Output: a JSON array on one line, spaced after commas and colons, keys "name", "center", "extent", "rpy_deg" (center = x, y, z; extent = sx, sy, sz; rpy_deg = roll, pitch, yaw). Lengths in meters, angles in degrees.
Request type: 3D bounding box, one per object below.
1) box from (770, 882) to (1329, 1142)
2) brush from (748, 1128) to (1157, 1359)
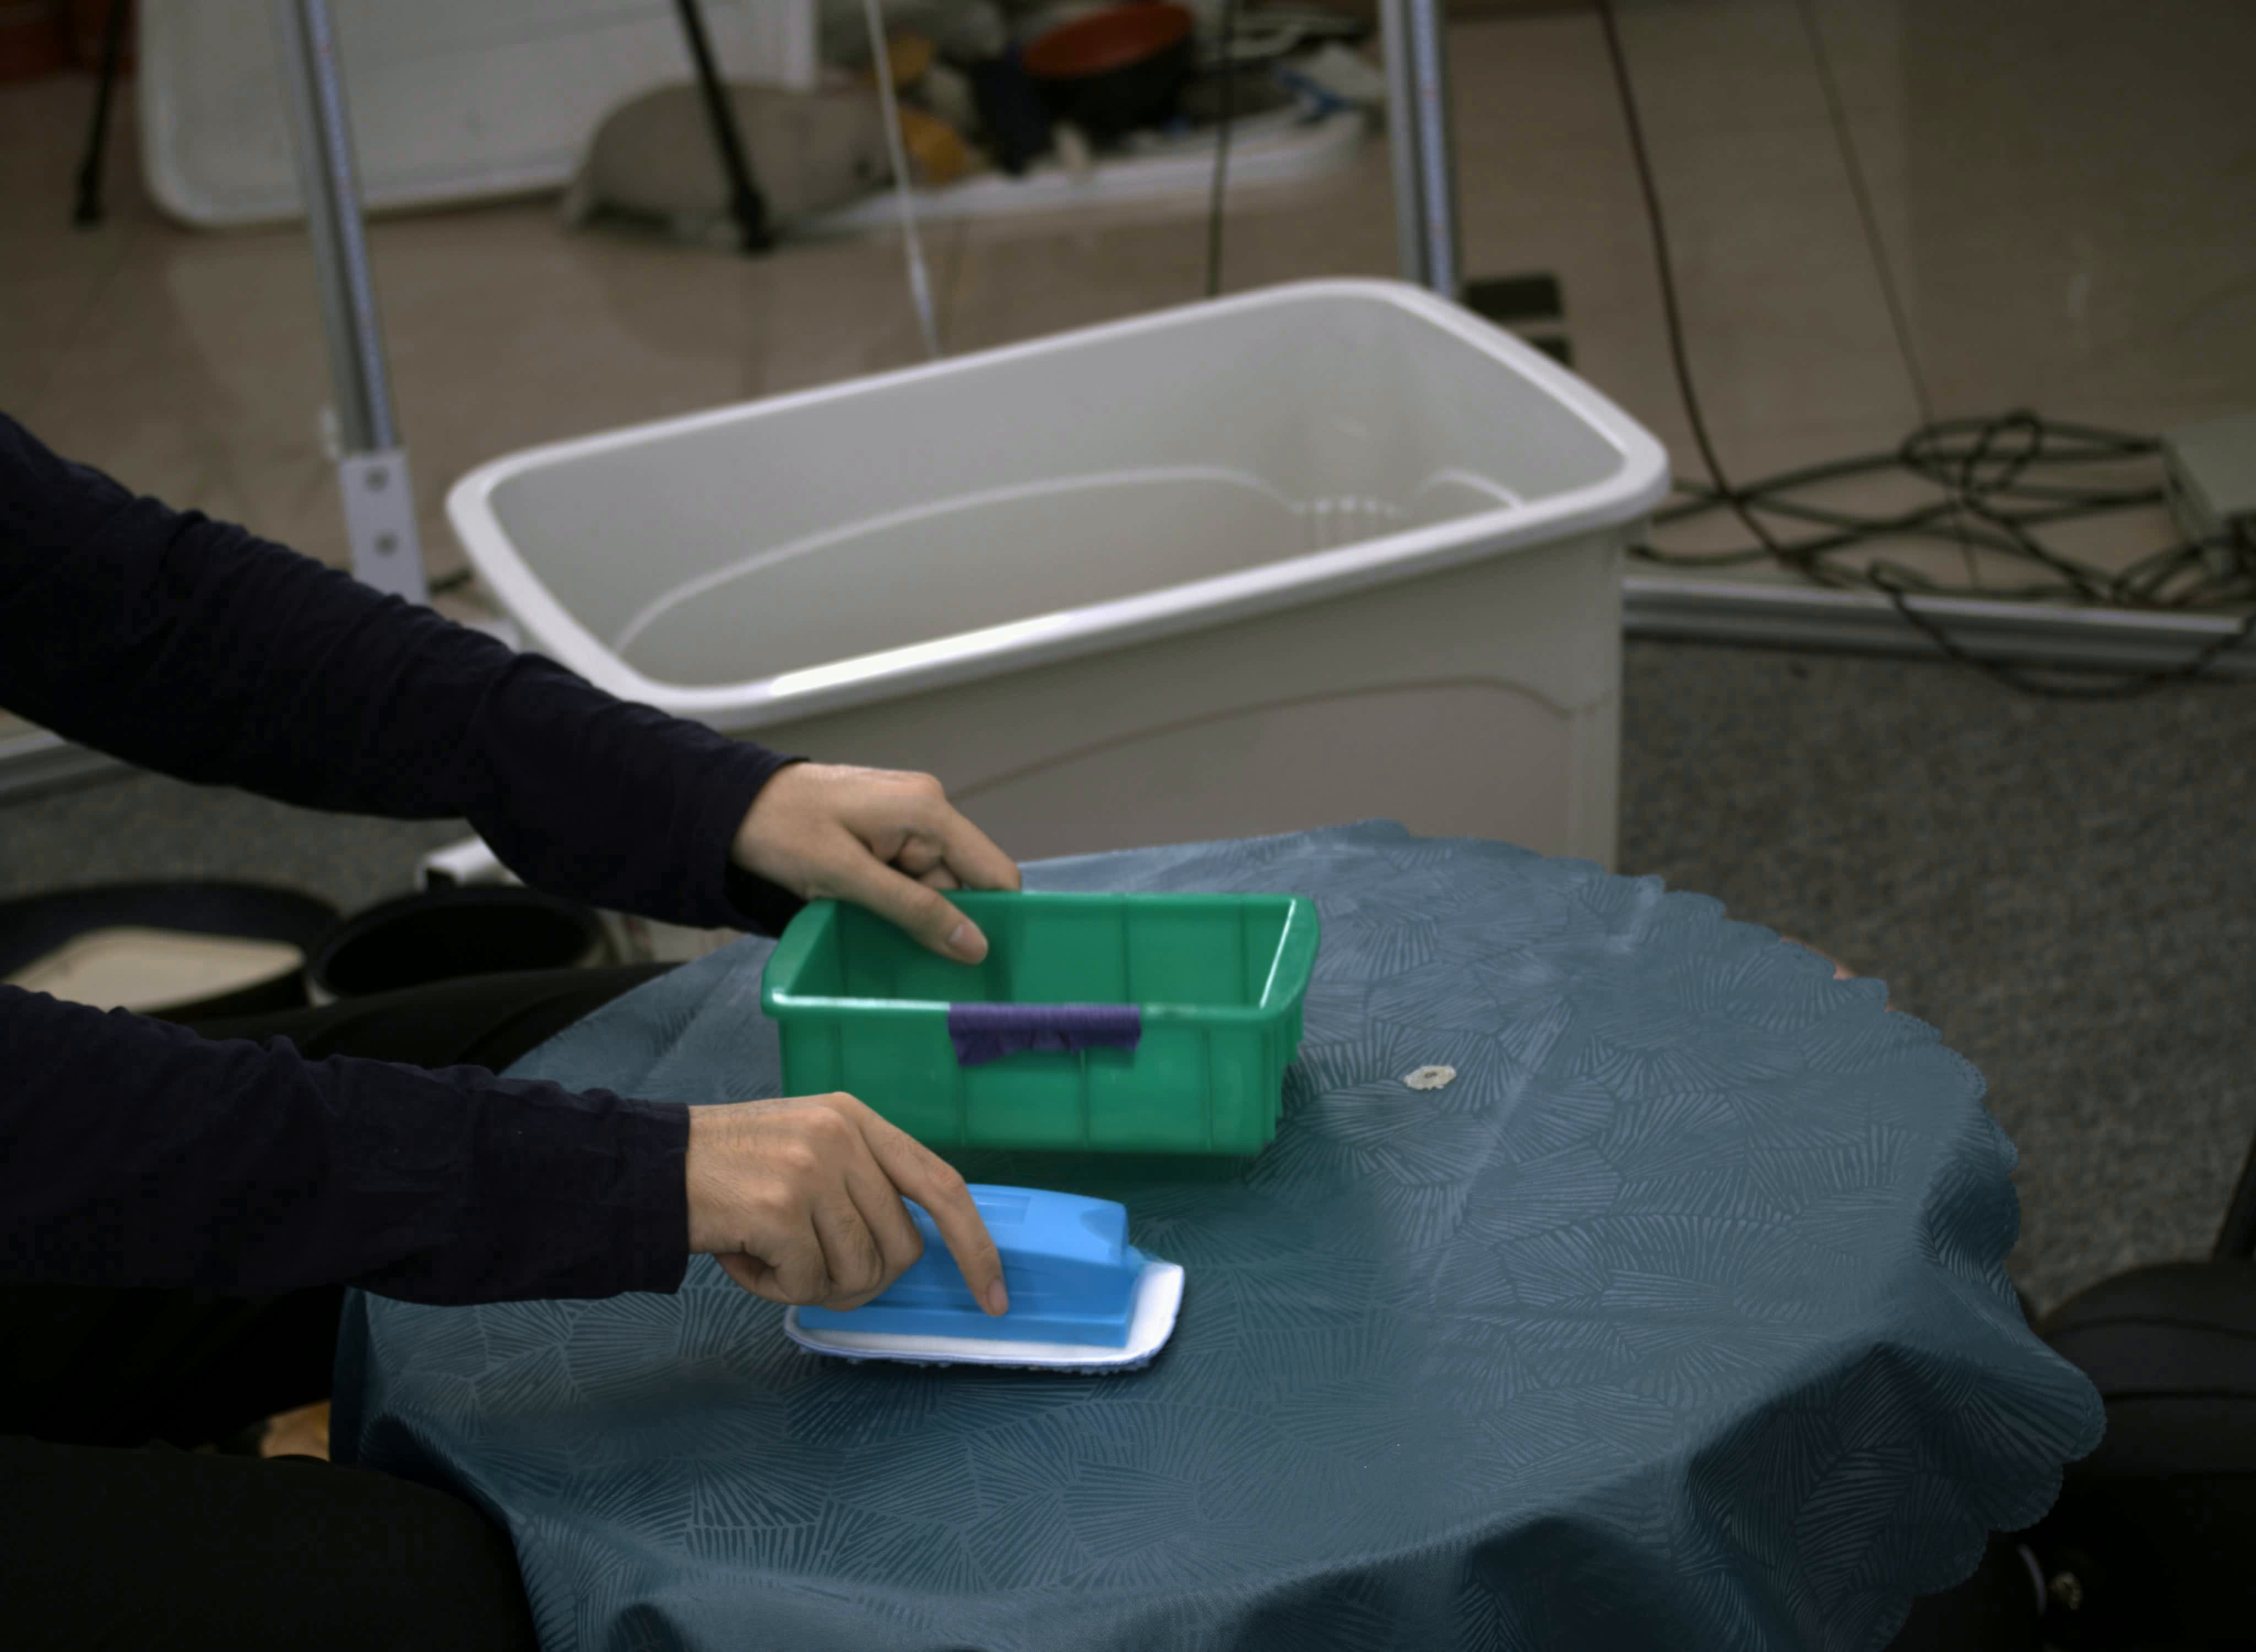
[{"name": "box", "center": [-0.028, 0.072, 2.184], "extent": [0.210, 0.066, 0.137], "rpy_deg": [0, 20, 7]}, {"name": "brush", "center": [-0.061, 0.148, 2.043], "extent": [0.143, 0.057, 0.082], "rpy_deg": [12, 30, 5]}]
